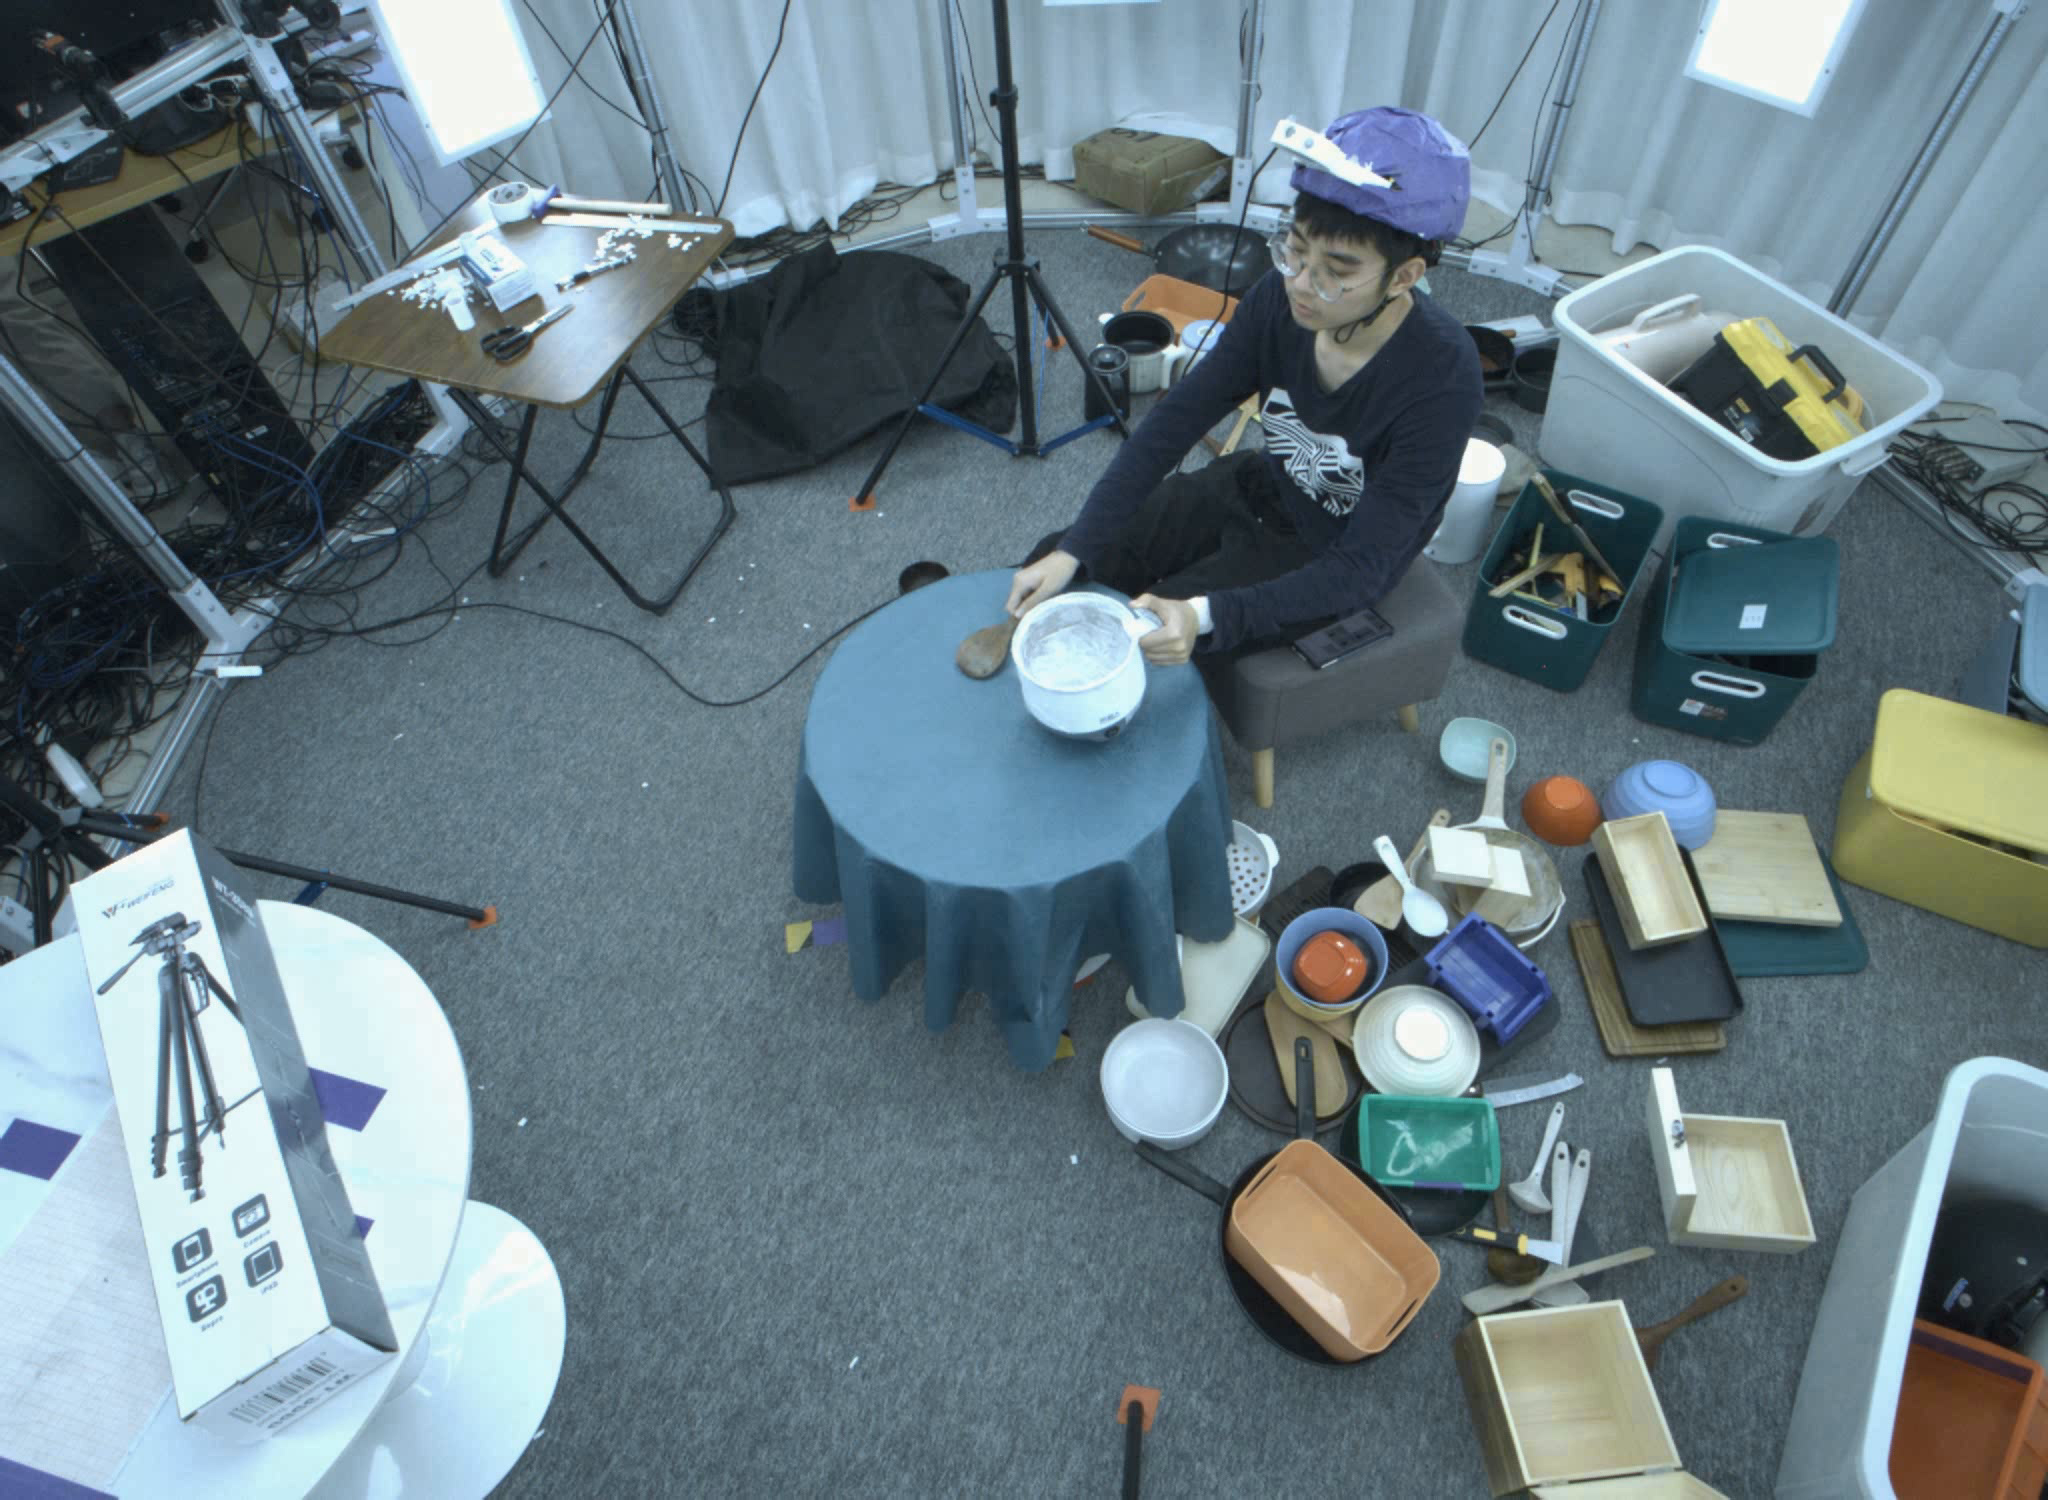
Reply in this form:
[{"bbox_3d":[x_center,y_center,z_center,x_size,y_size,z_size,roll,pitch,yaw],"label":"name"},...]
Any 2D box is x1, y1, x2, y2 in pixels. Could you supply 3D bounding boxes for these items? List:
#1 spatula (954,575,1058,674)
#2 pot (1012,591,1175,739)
[{"bbox_3d":[-0.020,-0.197,1.902,0.071,0.009,0.216,40,72,16],"label":"spatula"},{"bbox_3d":[0.105,-0.130,1.756,0.235,0.138,0.175,-27,59,-8],"label":"pot"}]
